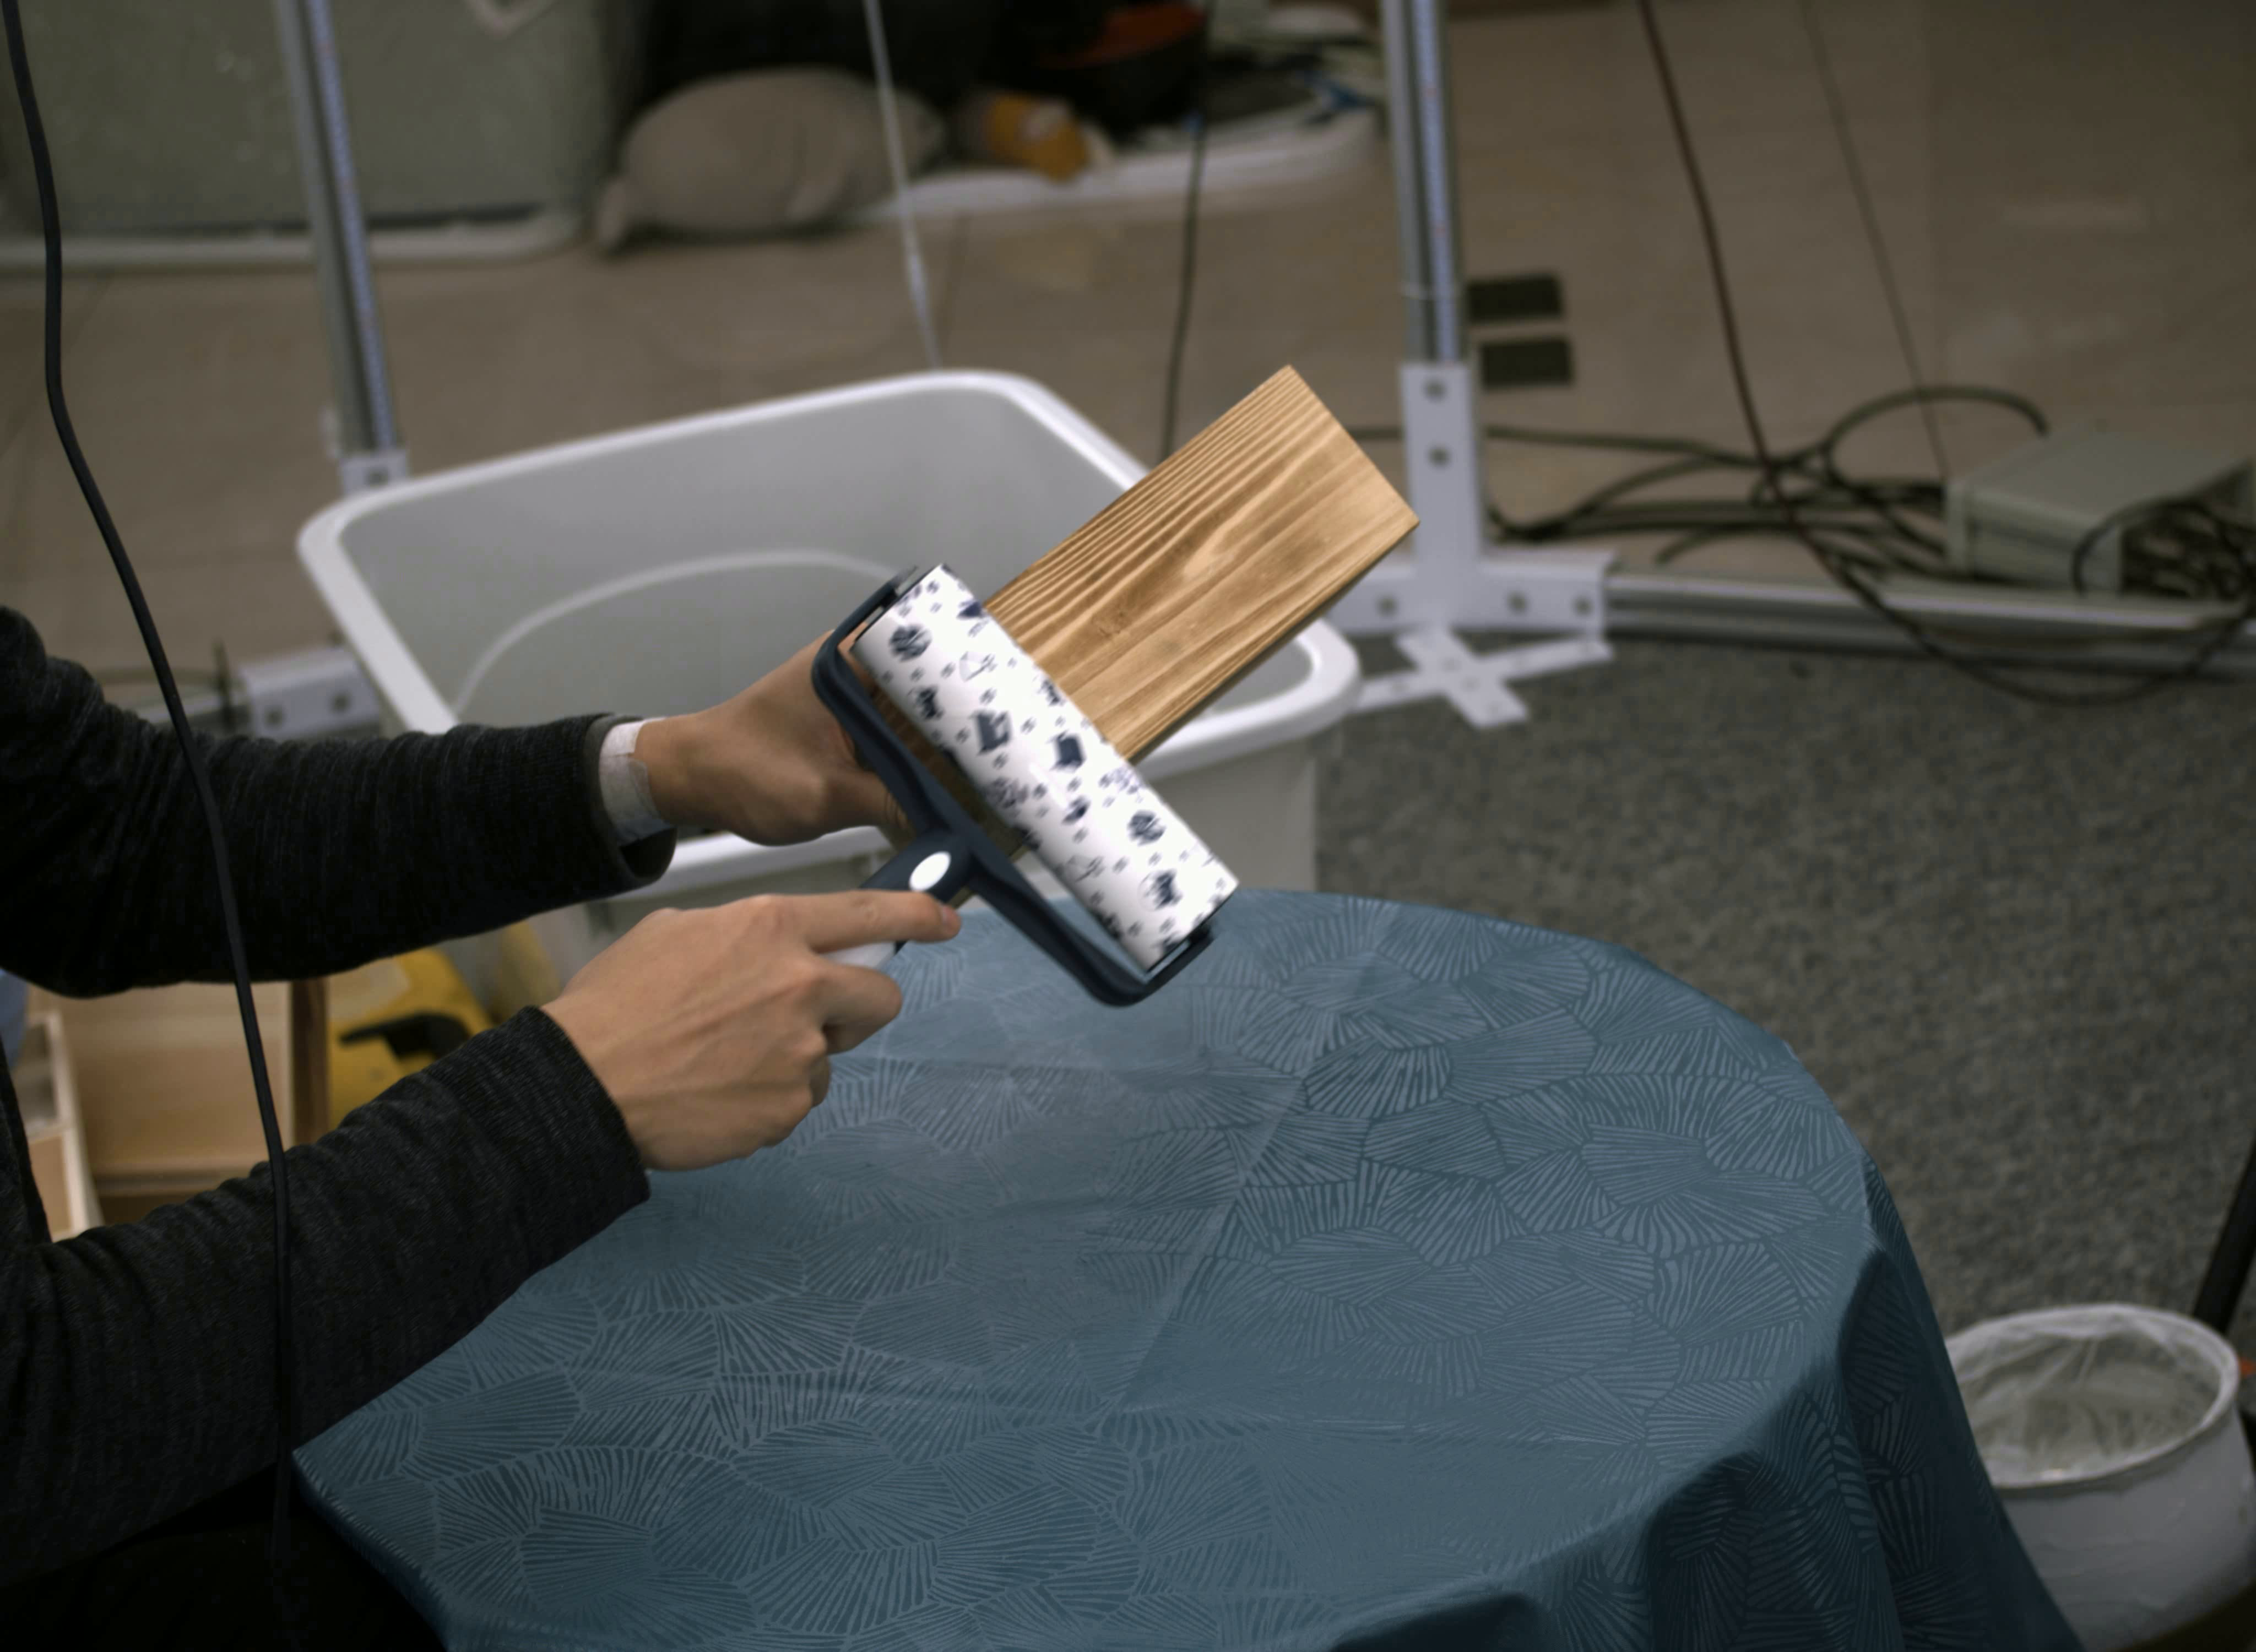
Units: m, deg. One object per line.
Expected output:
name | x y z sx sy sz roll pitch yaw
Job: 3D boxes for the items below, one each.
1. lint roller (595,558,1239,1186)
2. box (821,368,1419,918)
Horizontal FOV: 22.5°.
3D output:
lint roller | -0.095 0.041 2.008 0.244 0.176 0.051 -44 3 -24
box | -0.004 -0.069 2.150 0.209 0.080 0.108 -39 -2 -23
